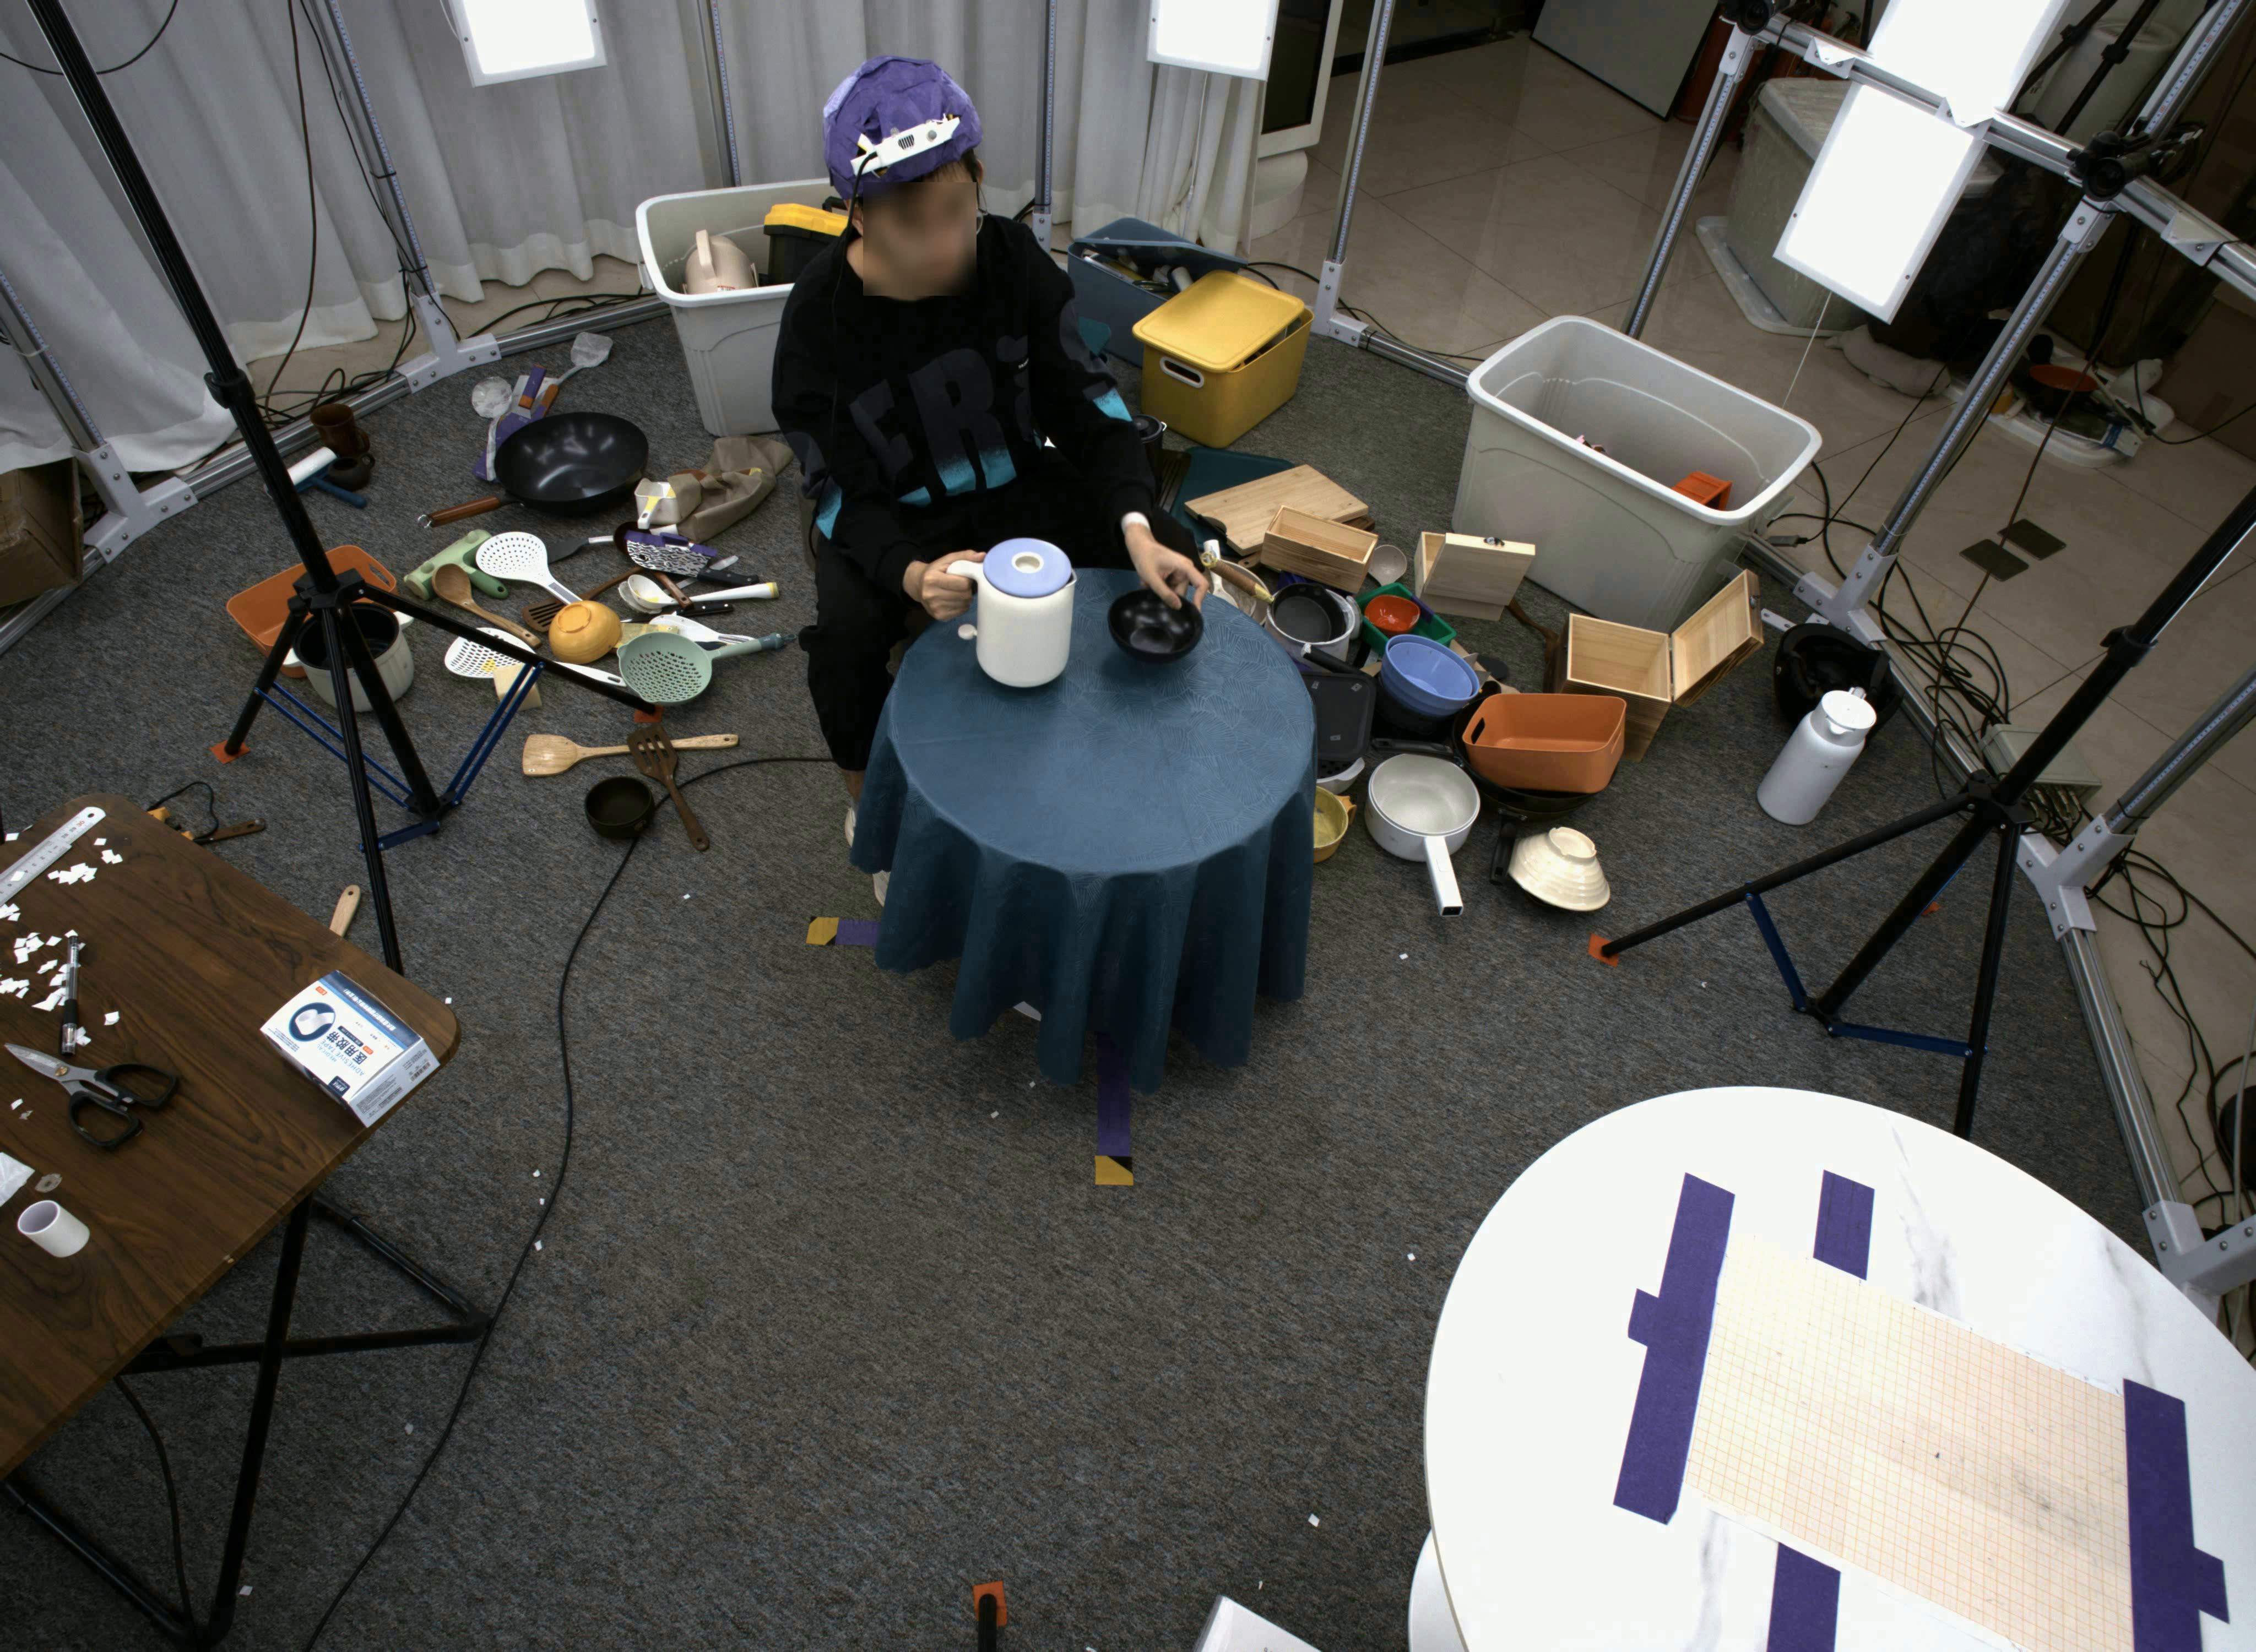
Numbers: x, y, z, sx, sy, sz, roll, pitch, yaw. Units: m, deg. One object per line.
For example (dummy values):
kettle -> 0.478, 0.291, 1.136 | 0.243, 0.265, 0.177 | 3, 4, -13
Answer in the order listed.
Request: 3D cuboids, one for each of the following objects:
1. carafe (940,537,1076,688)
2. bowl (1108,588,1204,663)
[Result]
carafe -> -0.166, -0.298, 1.775 | 0.191, 0.178, 0.135 | 10, 48, 6
bowl -> 0.038, -0.280, 1.849 | 0.140, 0.048, 0.143 | 3, 48, -3
